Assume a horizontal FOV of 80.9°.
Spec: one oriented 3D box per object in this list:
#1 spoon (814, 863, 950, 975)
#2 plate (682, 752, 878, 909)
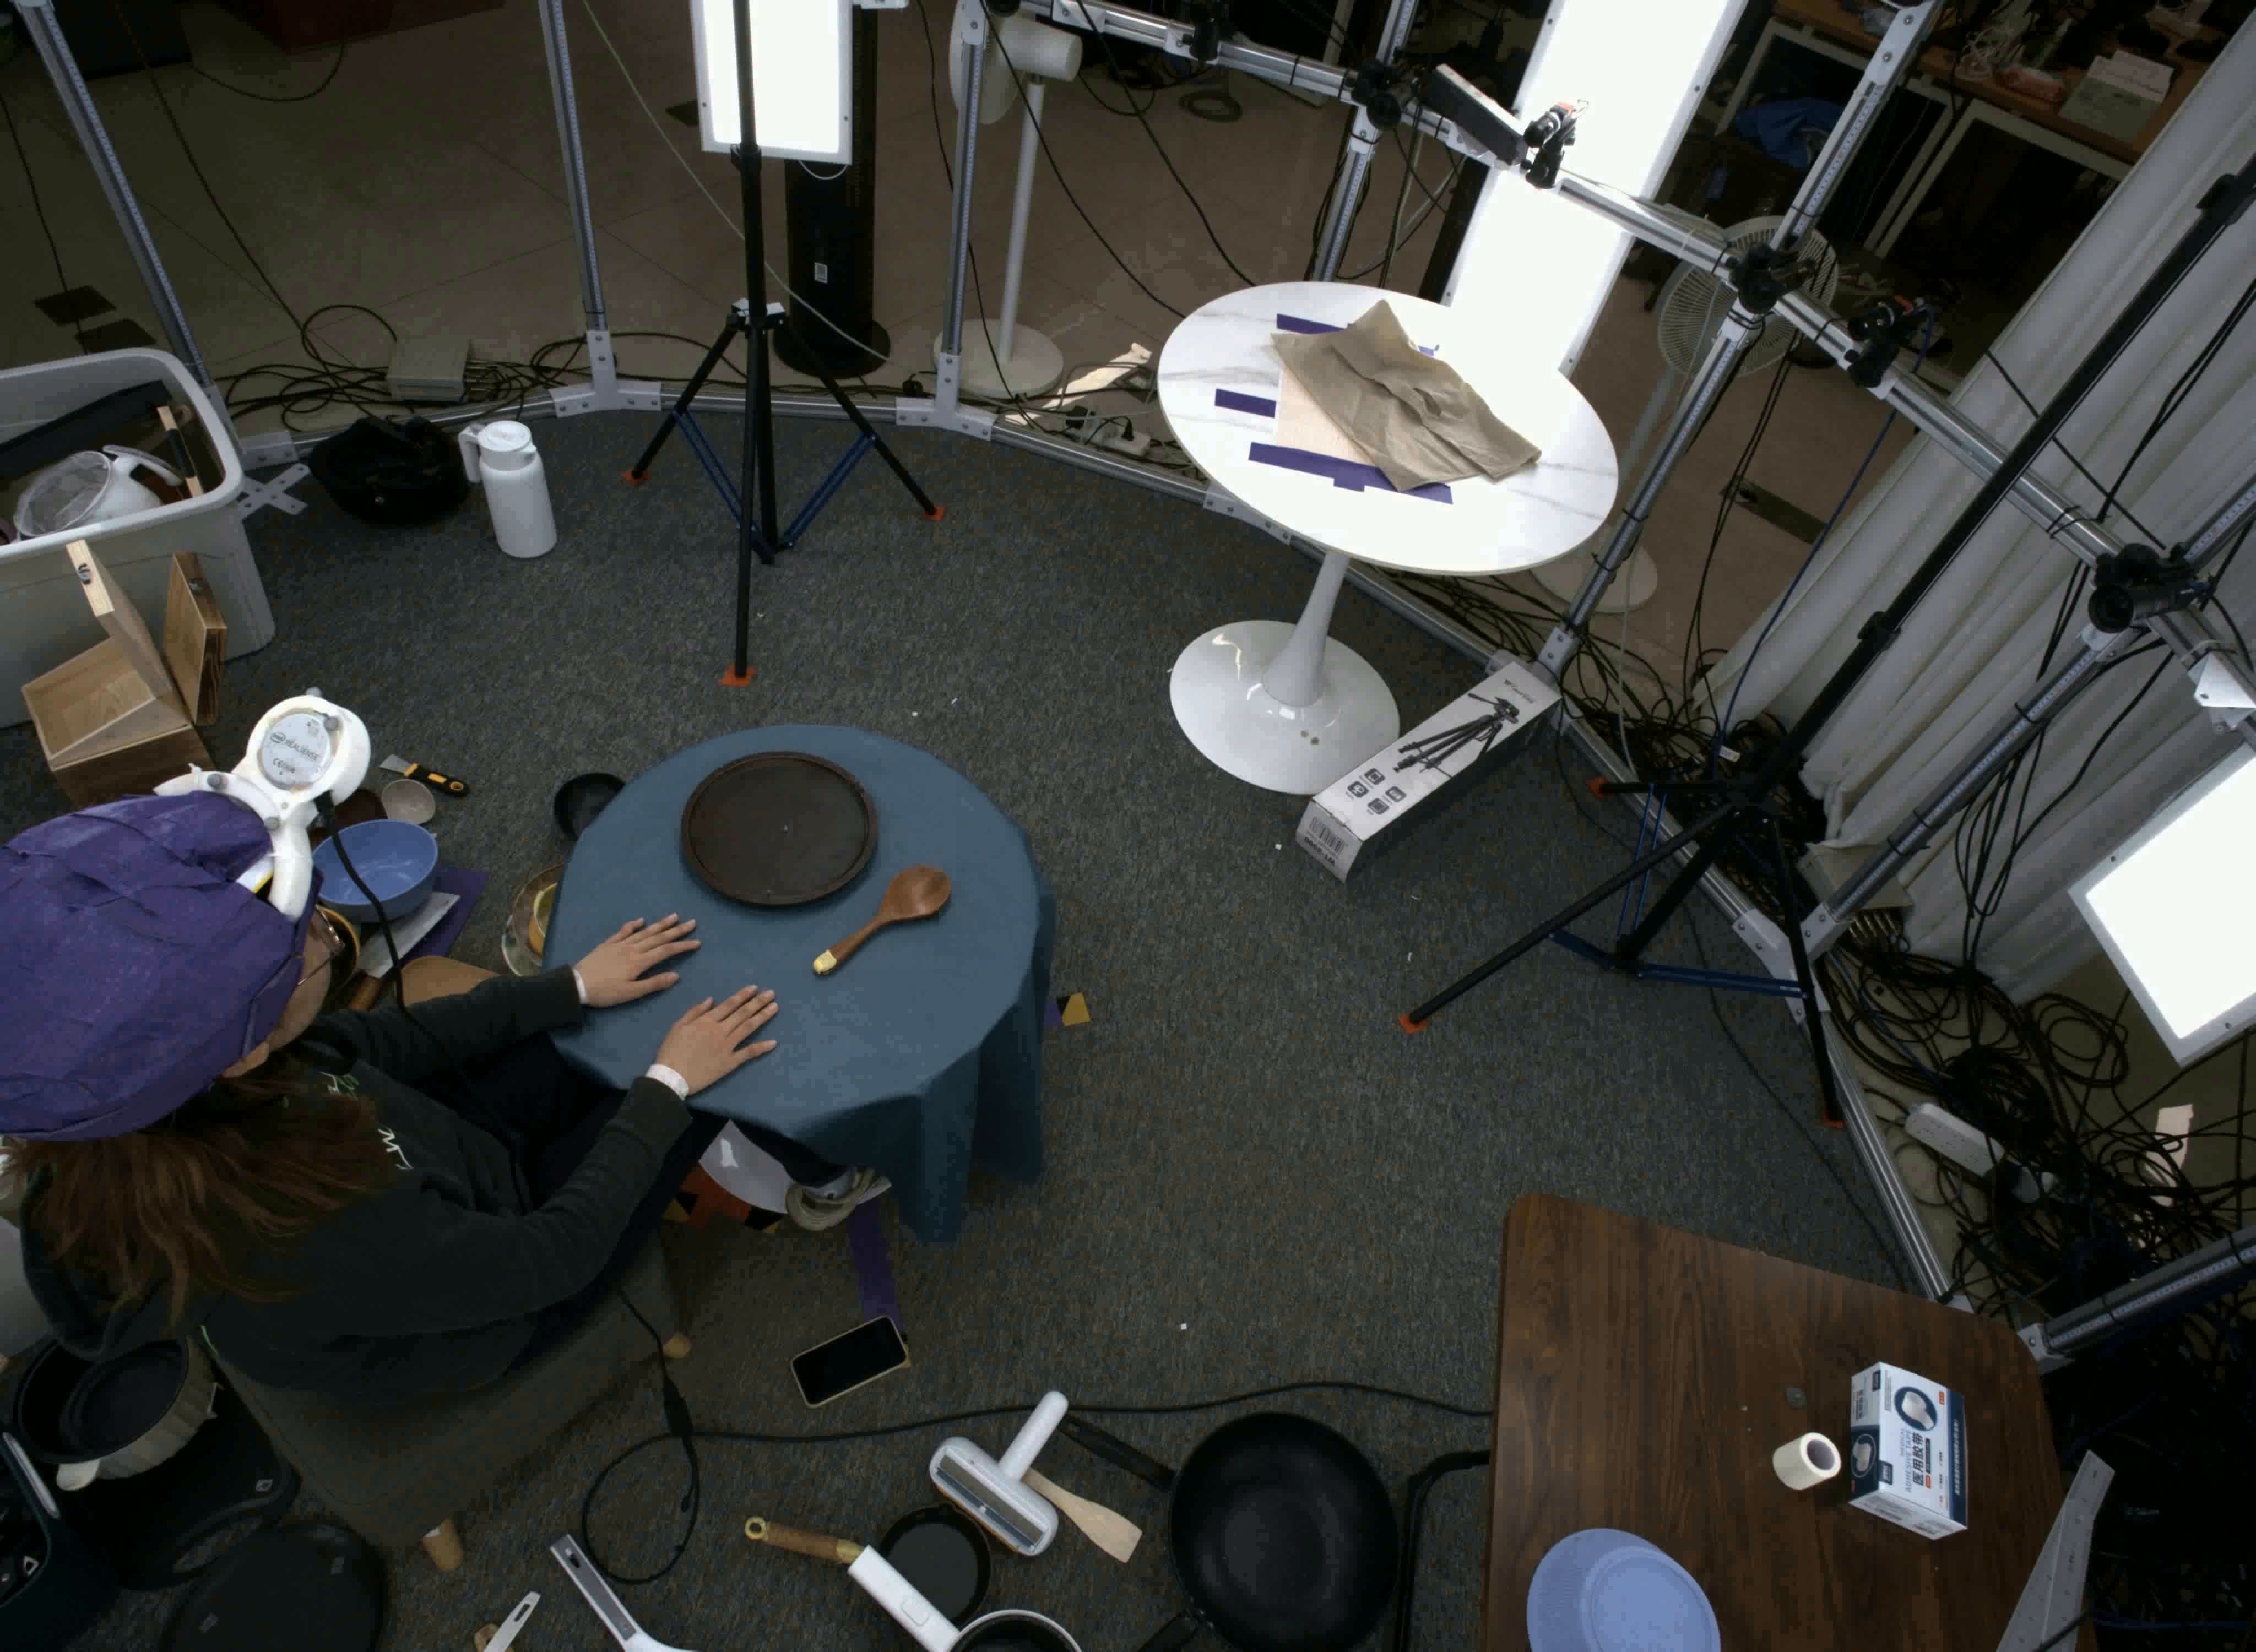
[{"bbox_3d":[-0.315,0.119,1.658,0.074,0.017,0.216,39,54,15],"label":"spoon"},{"bbox_3d":[-0.457,0.003,1.704,0.254,0.029,0.250,8,51,-8],"label":"plate"}]
